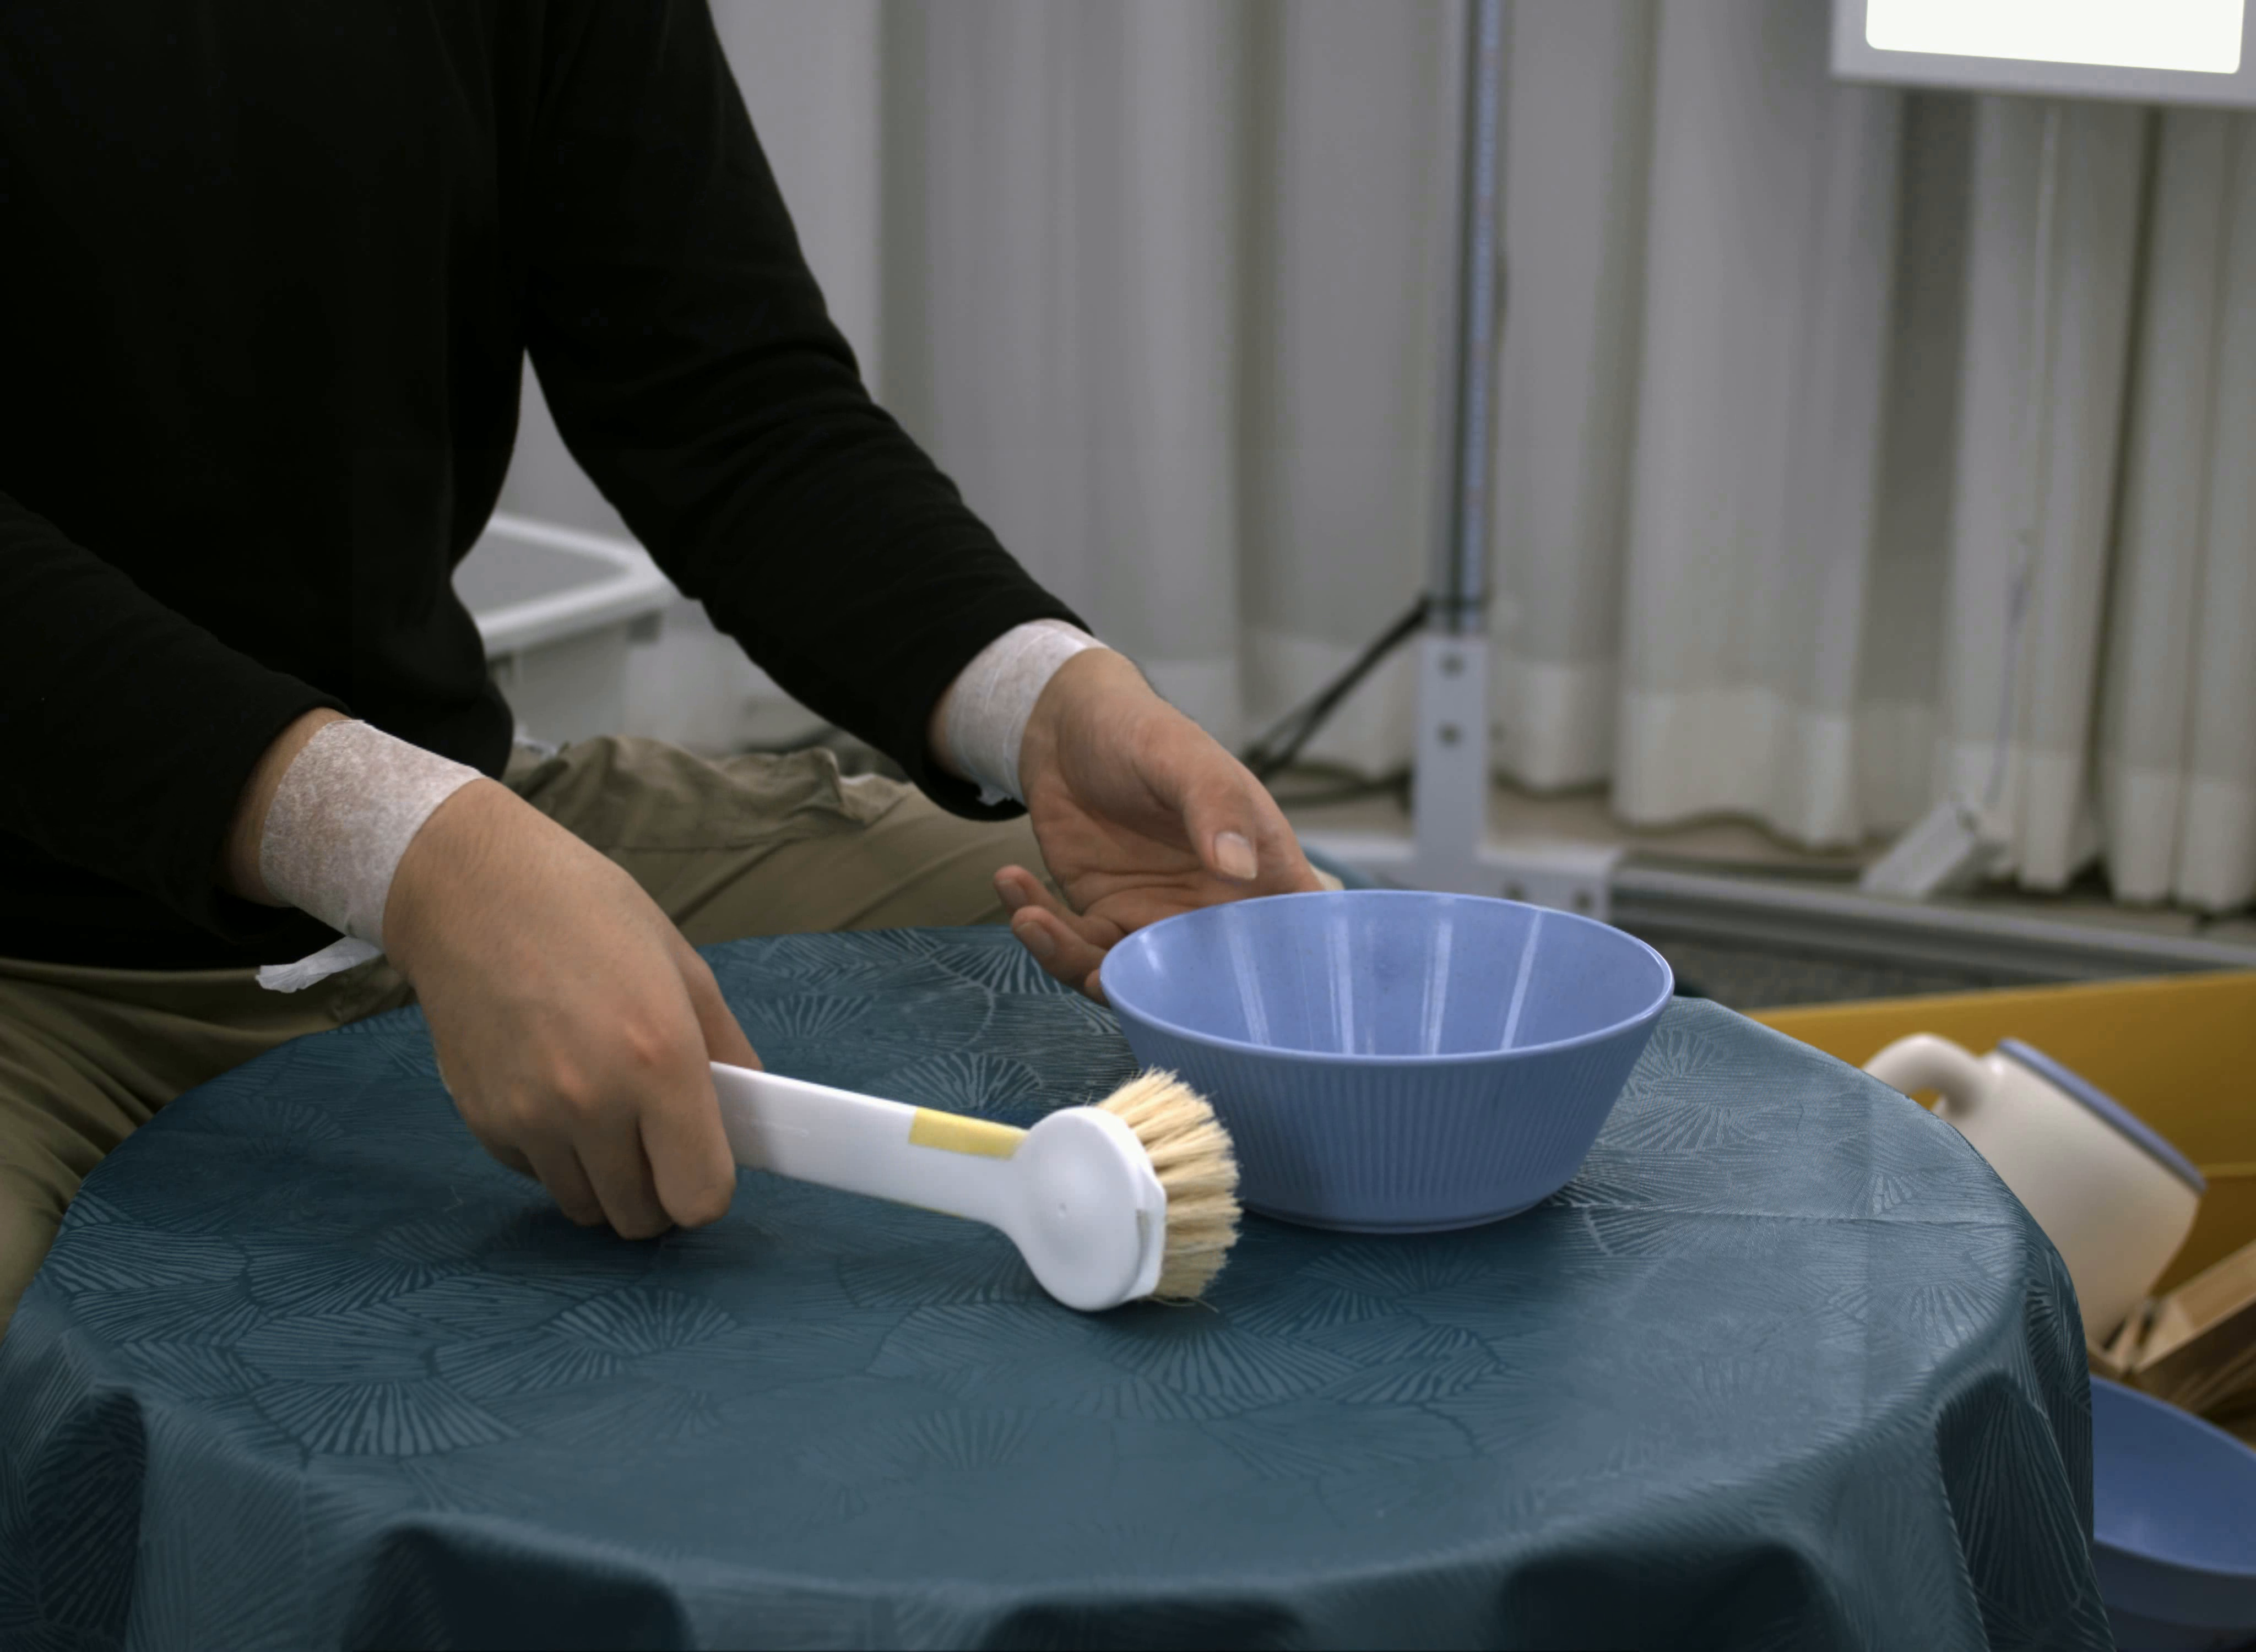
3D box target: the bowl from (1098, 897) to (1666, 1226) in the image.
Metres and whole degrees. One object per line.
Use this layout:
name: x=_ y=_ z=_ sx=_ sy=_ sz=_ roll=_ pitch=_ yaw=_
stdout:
bowl: x=0.078 y=0.075 z=1.624 sx=0.175 sy=0.071 sz=0.175 roll=0 pitch=14 yaw=0

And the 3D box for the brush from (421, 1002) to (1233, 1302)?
brush: x=-0.088 y=0.086 z=1.567 sx=0.263 sy=0.069 sz=0.056 roll=11 pitch=7 yaw=26
